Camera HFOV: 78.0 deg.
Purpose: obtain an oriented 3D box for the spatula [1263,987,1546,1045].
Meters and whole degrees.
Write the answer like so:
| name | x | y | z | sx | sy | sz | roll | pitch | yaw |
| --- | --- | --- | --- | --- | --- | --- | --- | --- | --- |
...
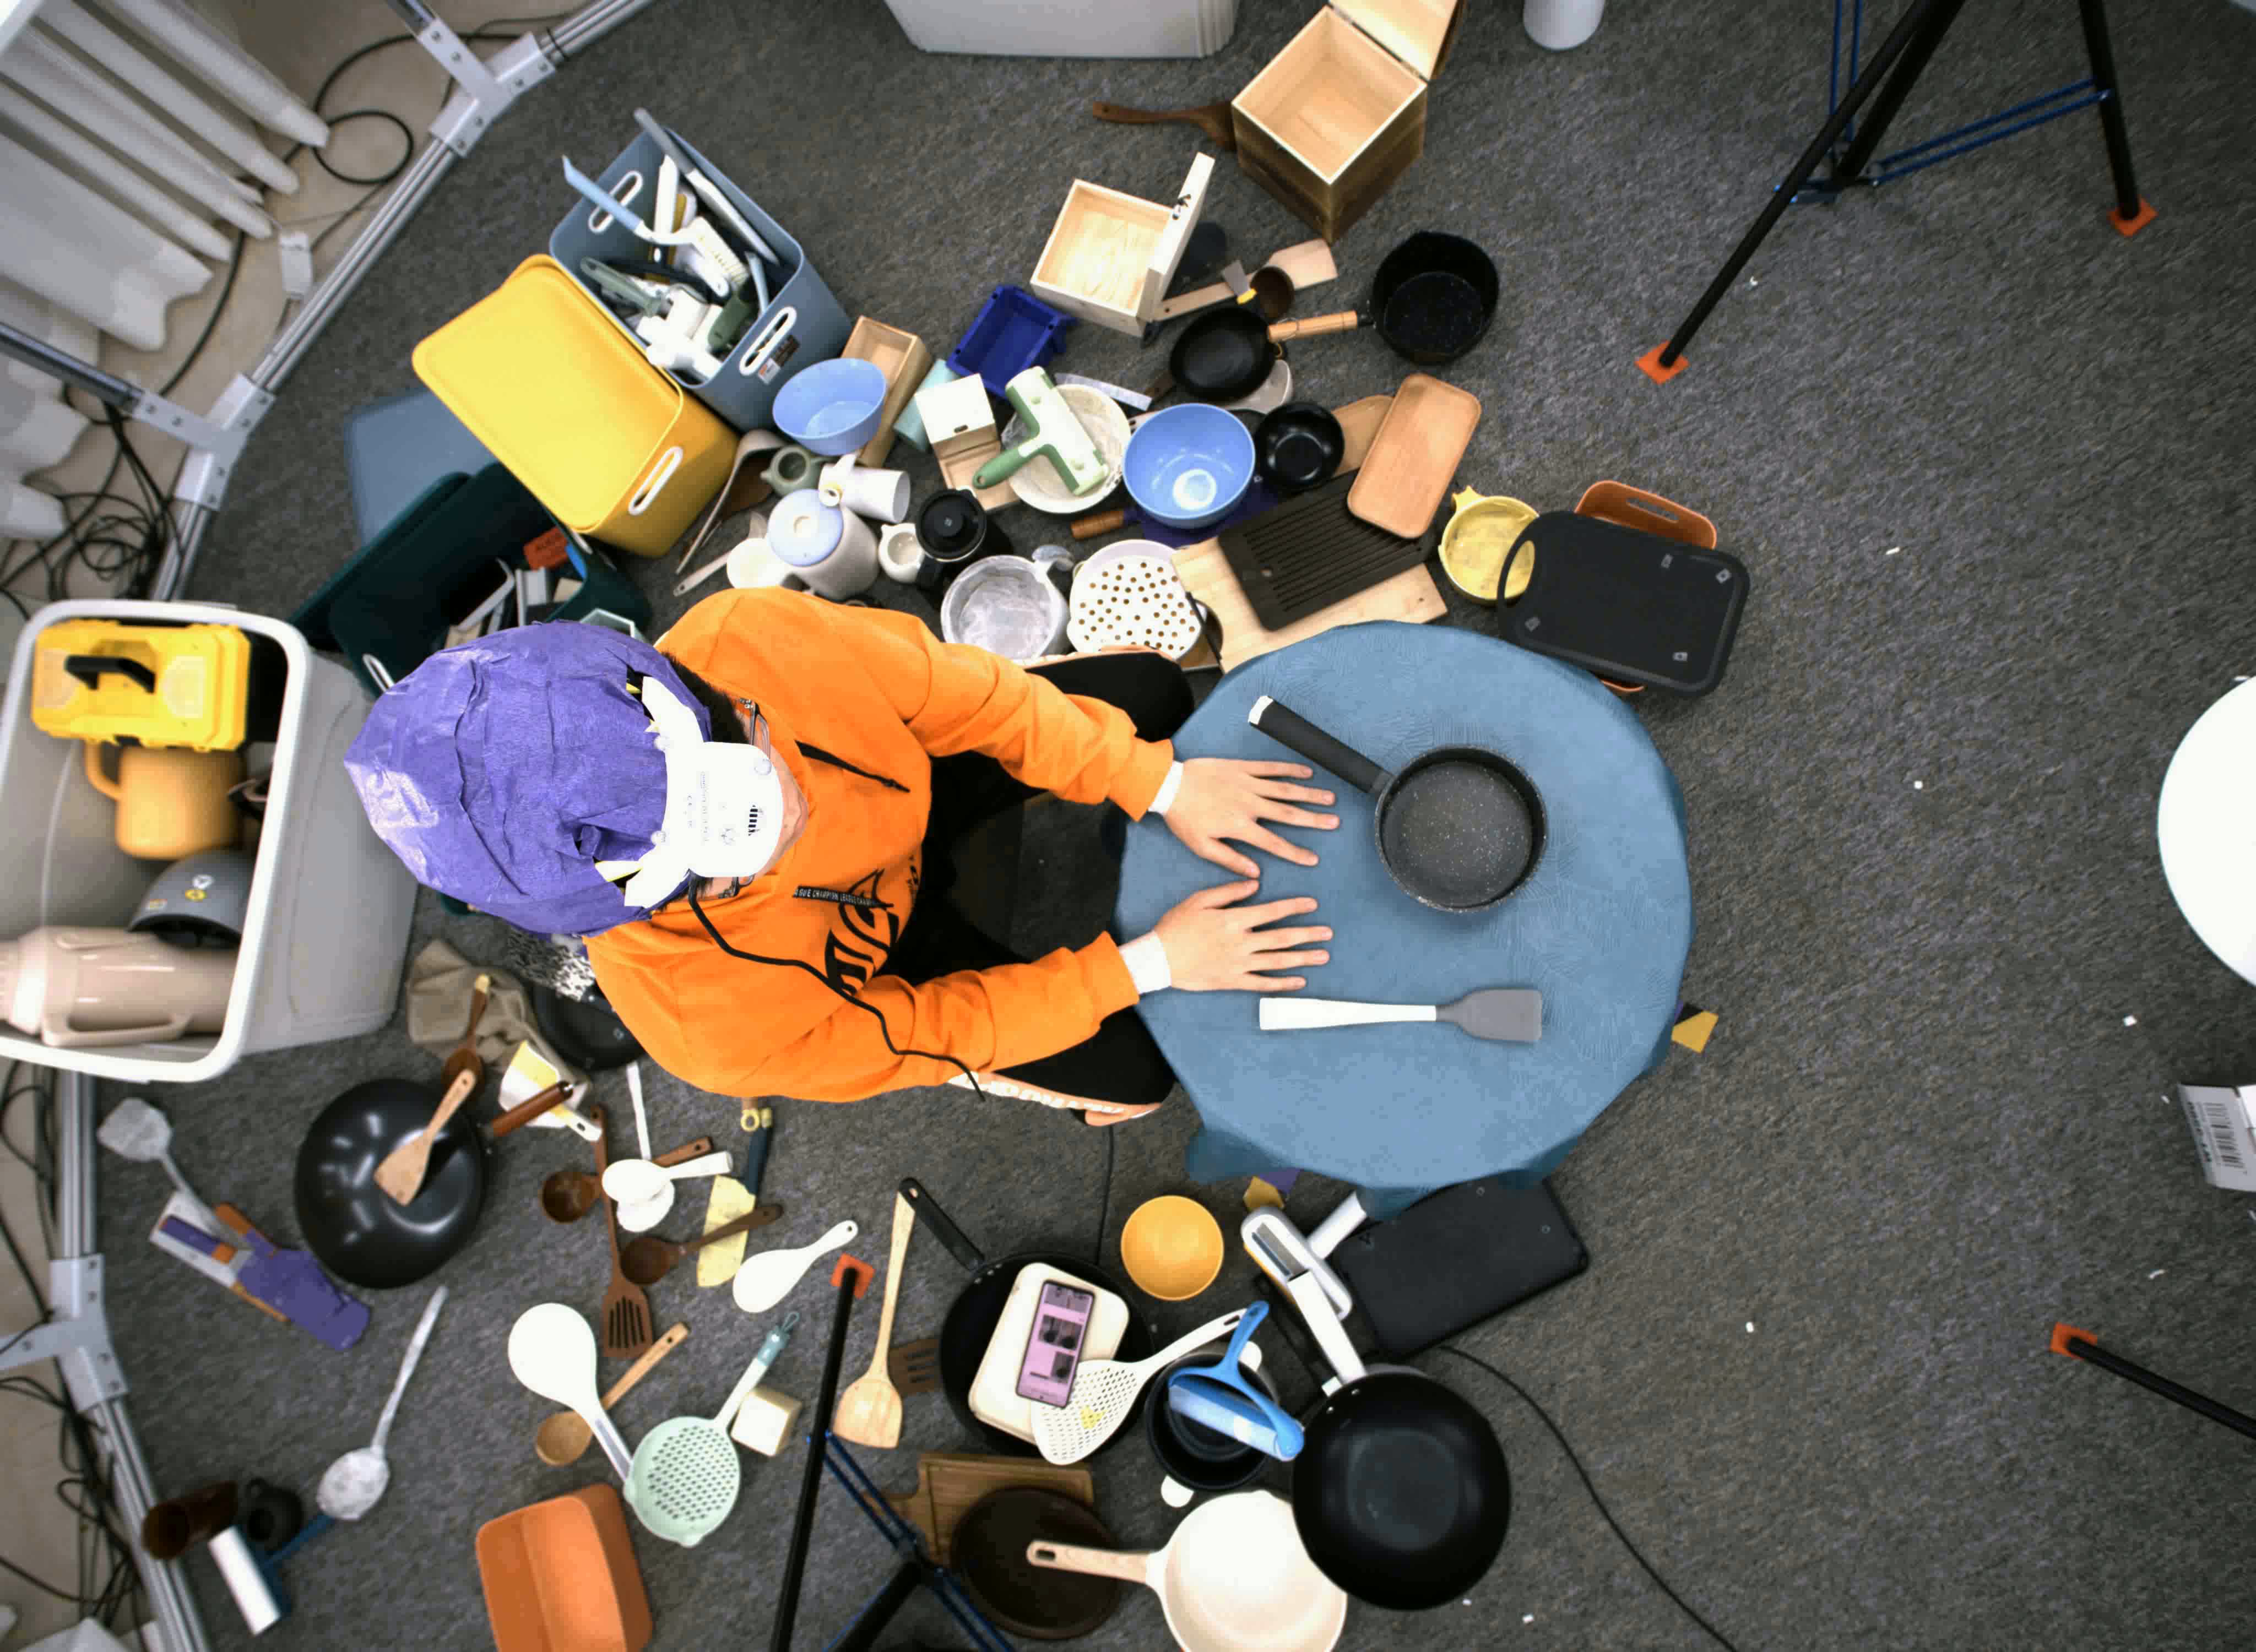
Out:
| name | x | y | z | sx | sy | sz | roll | pitch | yaw |
| --- | --- | --- | --- | --- | --- | --- | --- | --- | --- |
| spatula | 0.285 | 0.194 | 1.434 | 0.289 | 0.032 | 0.058 | -1 | 81 | 11 |

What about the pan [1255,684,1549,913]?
| name | x | y | z | sx | sy | sz | roll | pitch | yaw |
| --- | --- | --- | --- | --- | --- | --- | --- | --- | --- |
| pan | 0.274 | -0.040 | 1.422 | 0.328 | 0.086 | 0.172 | 34 | 92 | 9 |
